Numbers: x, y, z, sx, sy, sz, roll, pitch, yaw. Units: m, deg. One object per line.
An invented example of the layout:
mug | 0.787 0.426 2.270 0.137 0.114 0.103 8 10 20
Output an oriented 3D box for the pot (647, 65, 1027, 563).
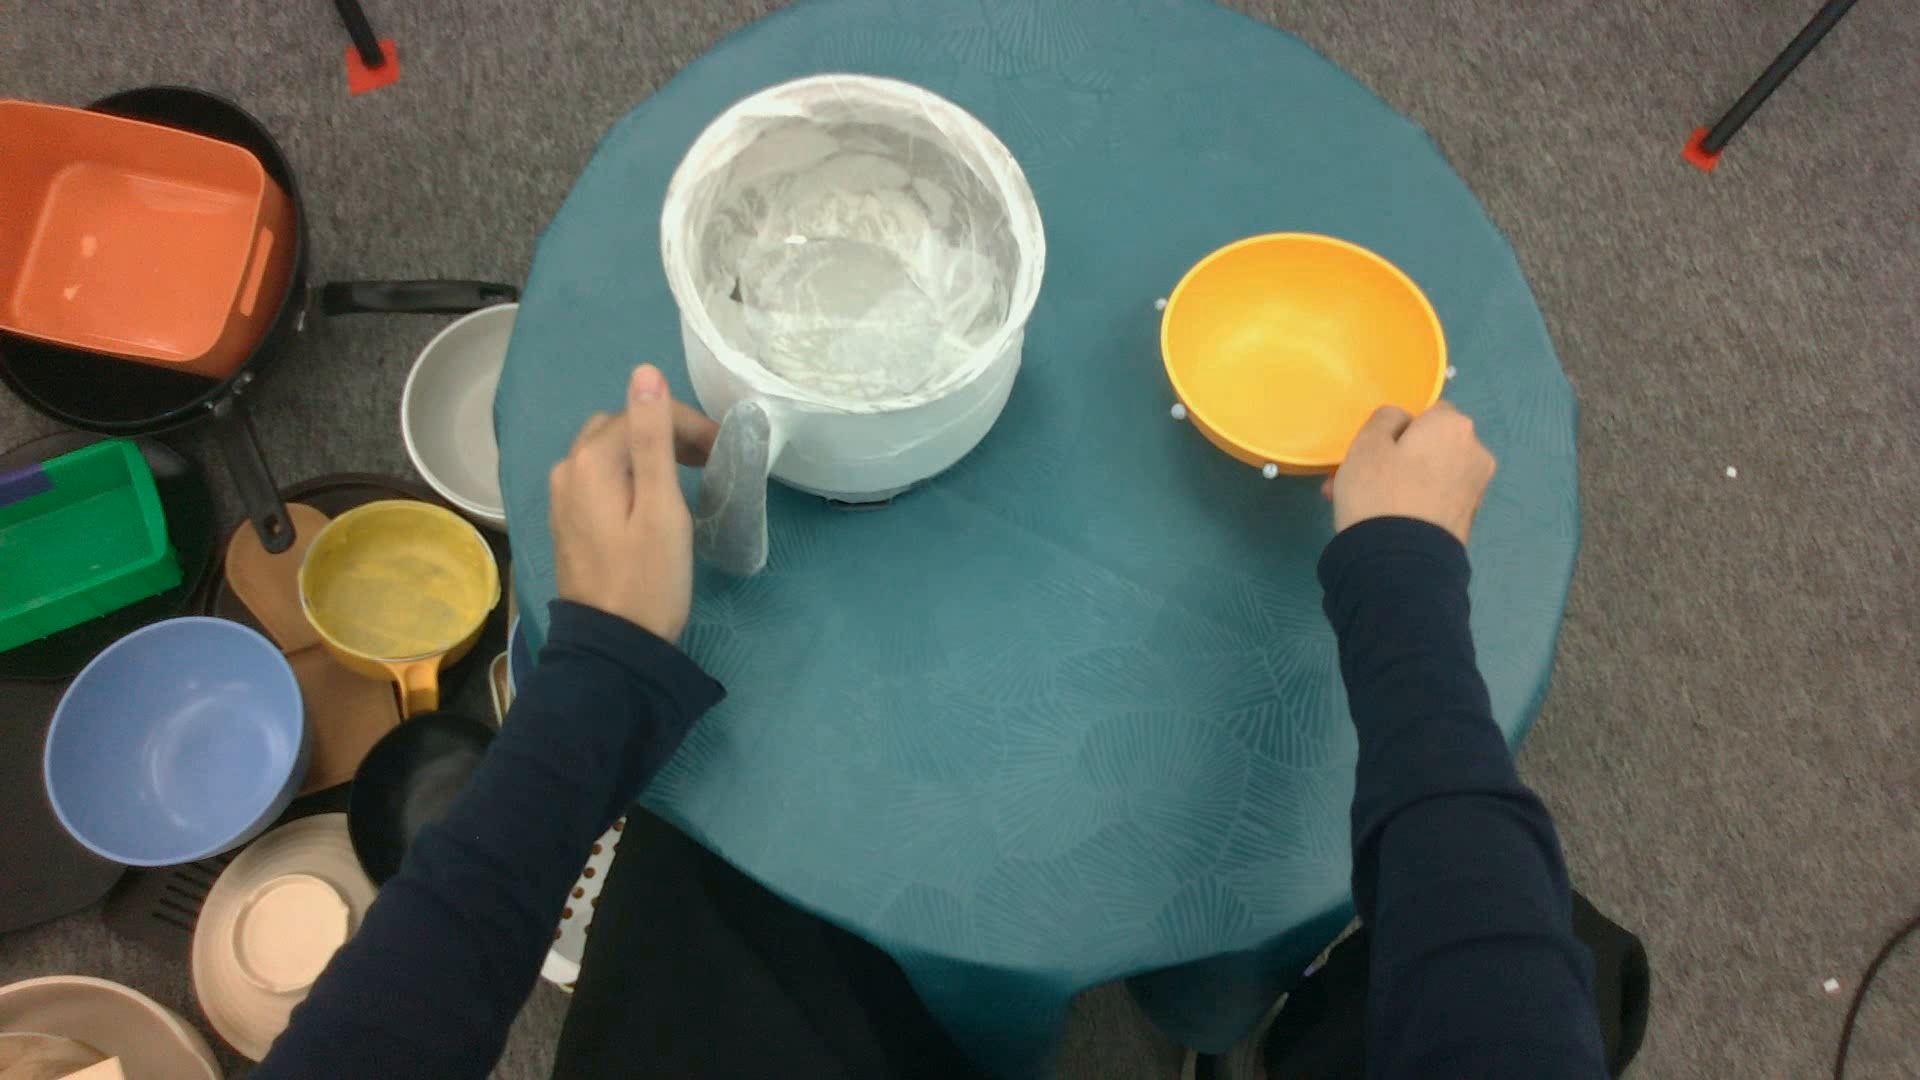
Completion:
pot | -0.072 -0.103 0.689 0.178 0.136 0.234 24 69 5

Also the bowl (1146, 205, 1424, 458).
bowl | 0.167 -0.102 0.739 0.145 0.060 0.146 1 70 -3
